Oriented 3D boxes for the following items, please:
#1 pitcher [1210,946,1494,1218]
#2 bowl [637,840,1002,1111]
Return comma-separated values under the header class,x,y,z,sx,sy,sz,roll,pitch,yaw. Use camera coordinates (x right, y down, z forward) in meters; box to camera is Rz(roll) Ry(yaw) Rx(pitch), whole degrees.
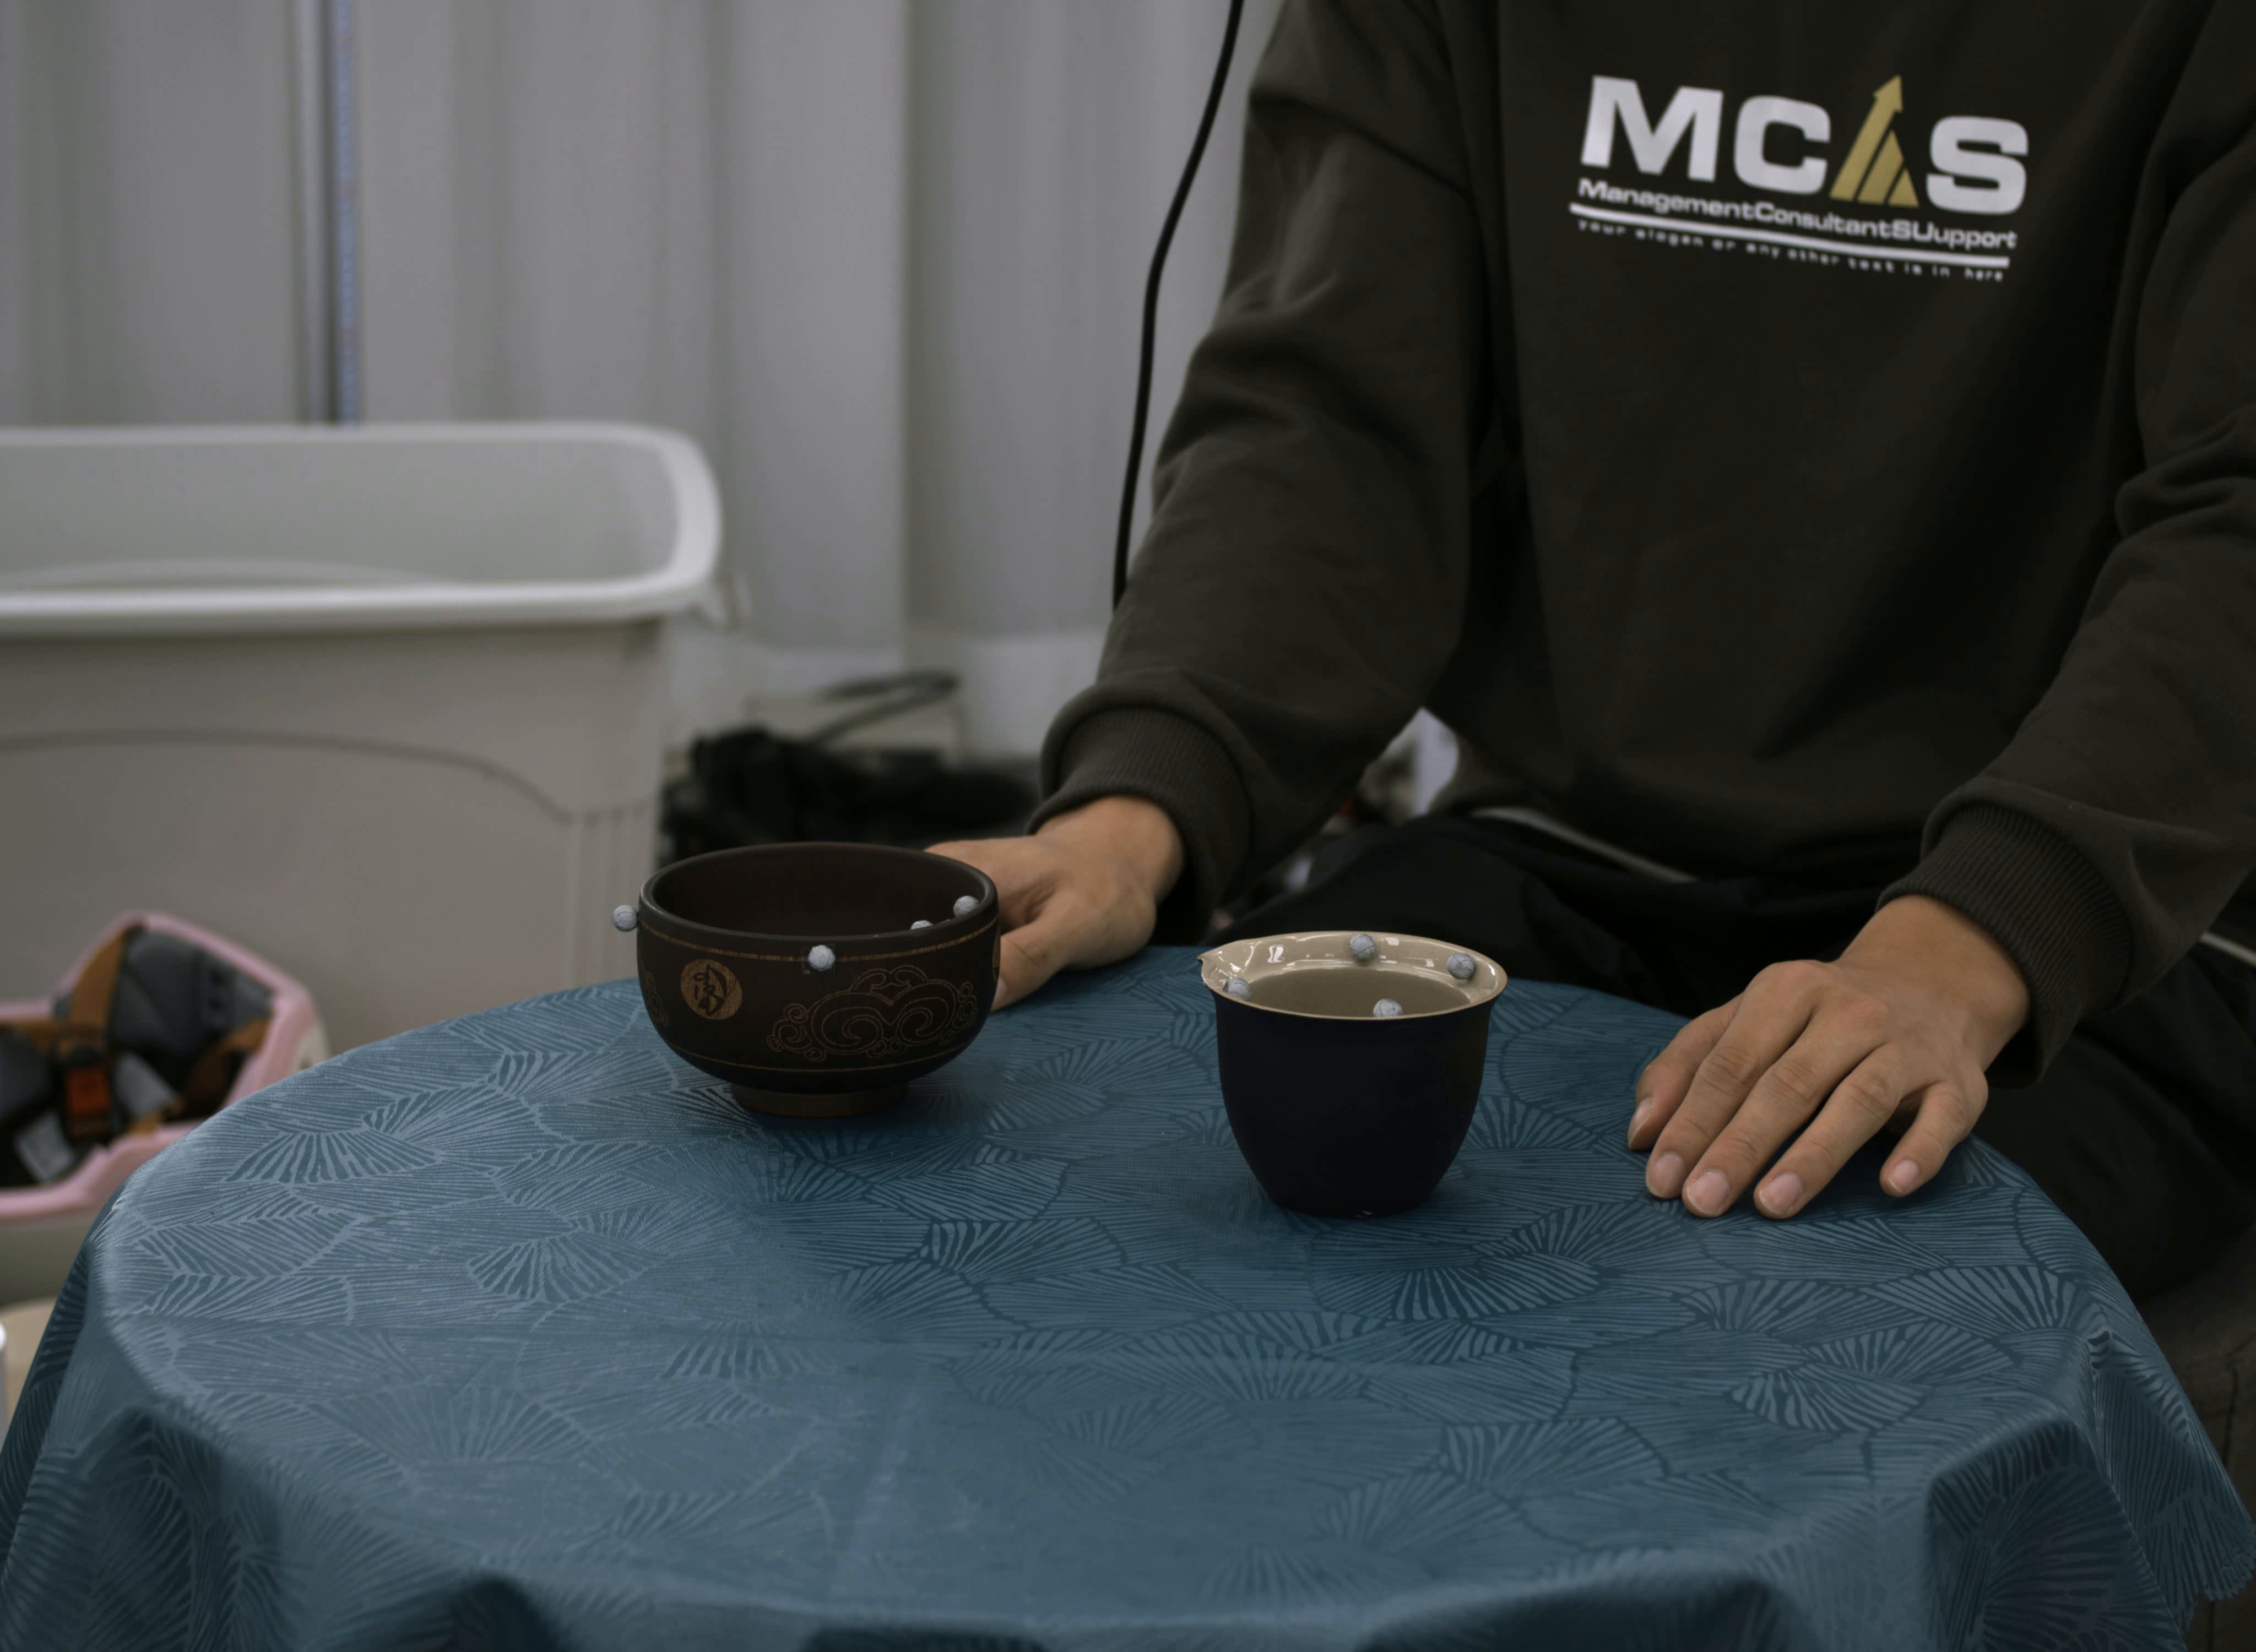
class,x,y,z,sx,sy,sz,roll,pitch,yaw
pitcher,0.066,0.078,1.622,0.095,0.072,0.084,11,21,37
bowl,-0.100,0.051,1.708,0.117,0.070,0.117,2,14,0
